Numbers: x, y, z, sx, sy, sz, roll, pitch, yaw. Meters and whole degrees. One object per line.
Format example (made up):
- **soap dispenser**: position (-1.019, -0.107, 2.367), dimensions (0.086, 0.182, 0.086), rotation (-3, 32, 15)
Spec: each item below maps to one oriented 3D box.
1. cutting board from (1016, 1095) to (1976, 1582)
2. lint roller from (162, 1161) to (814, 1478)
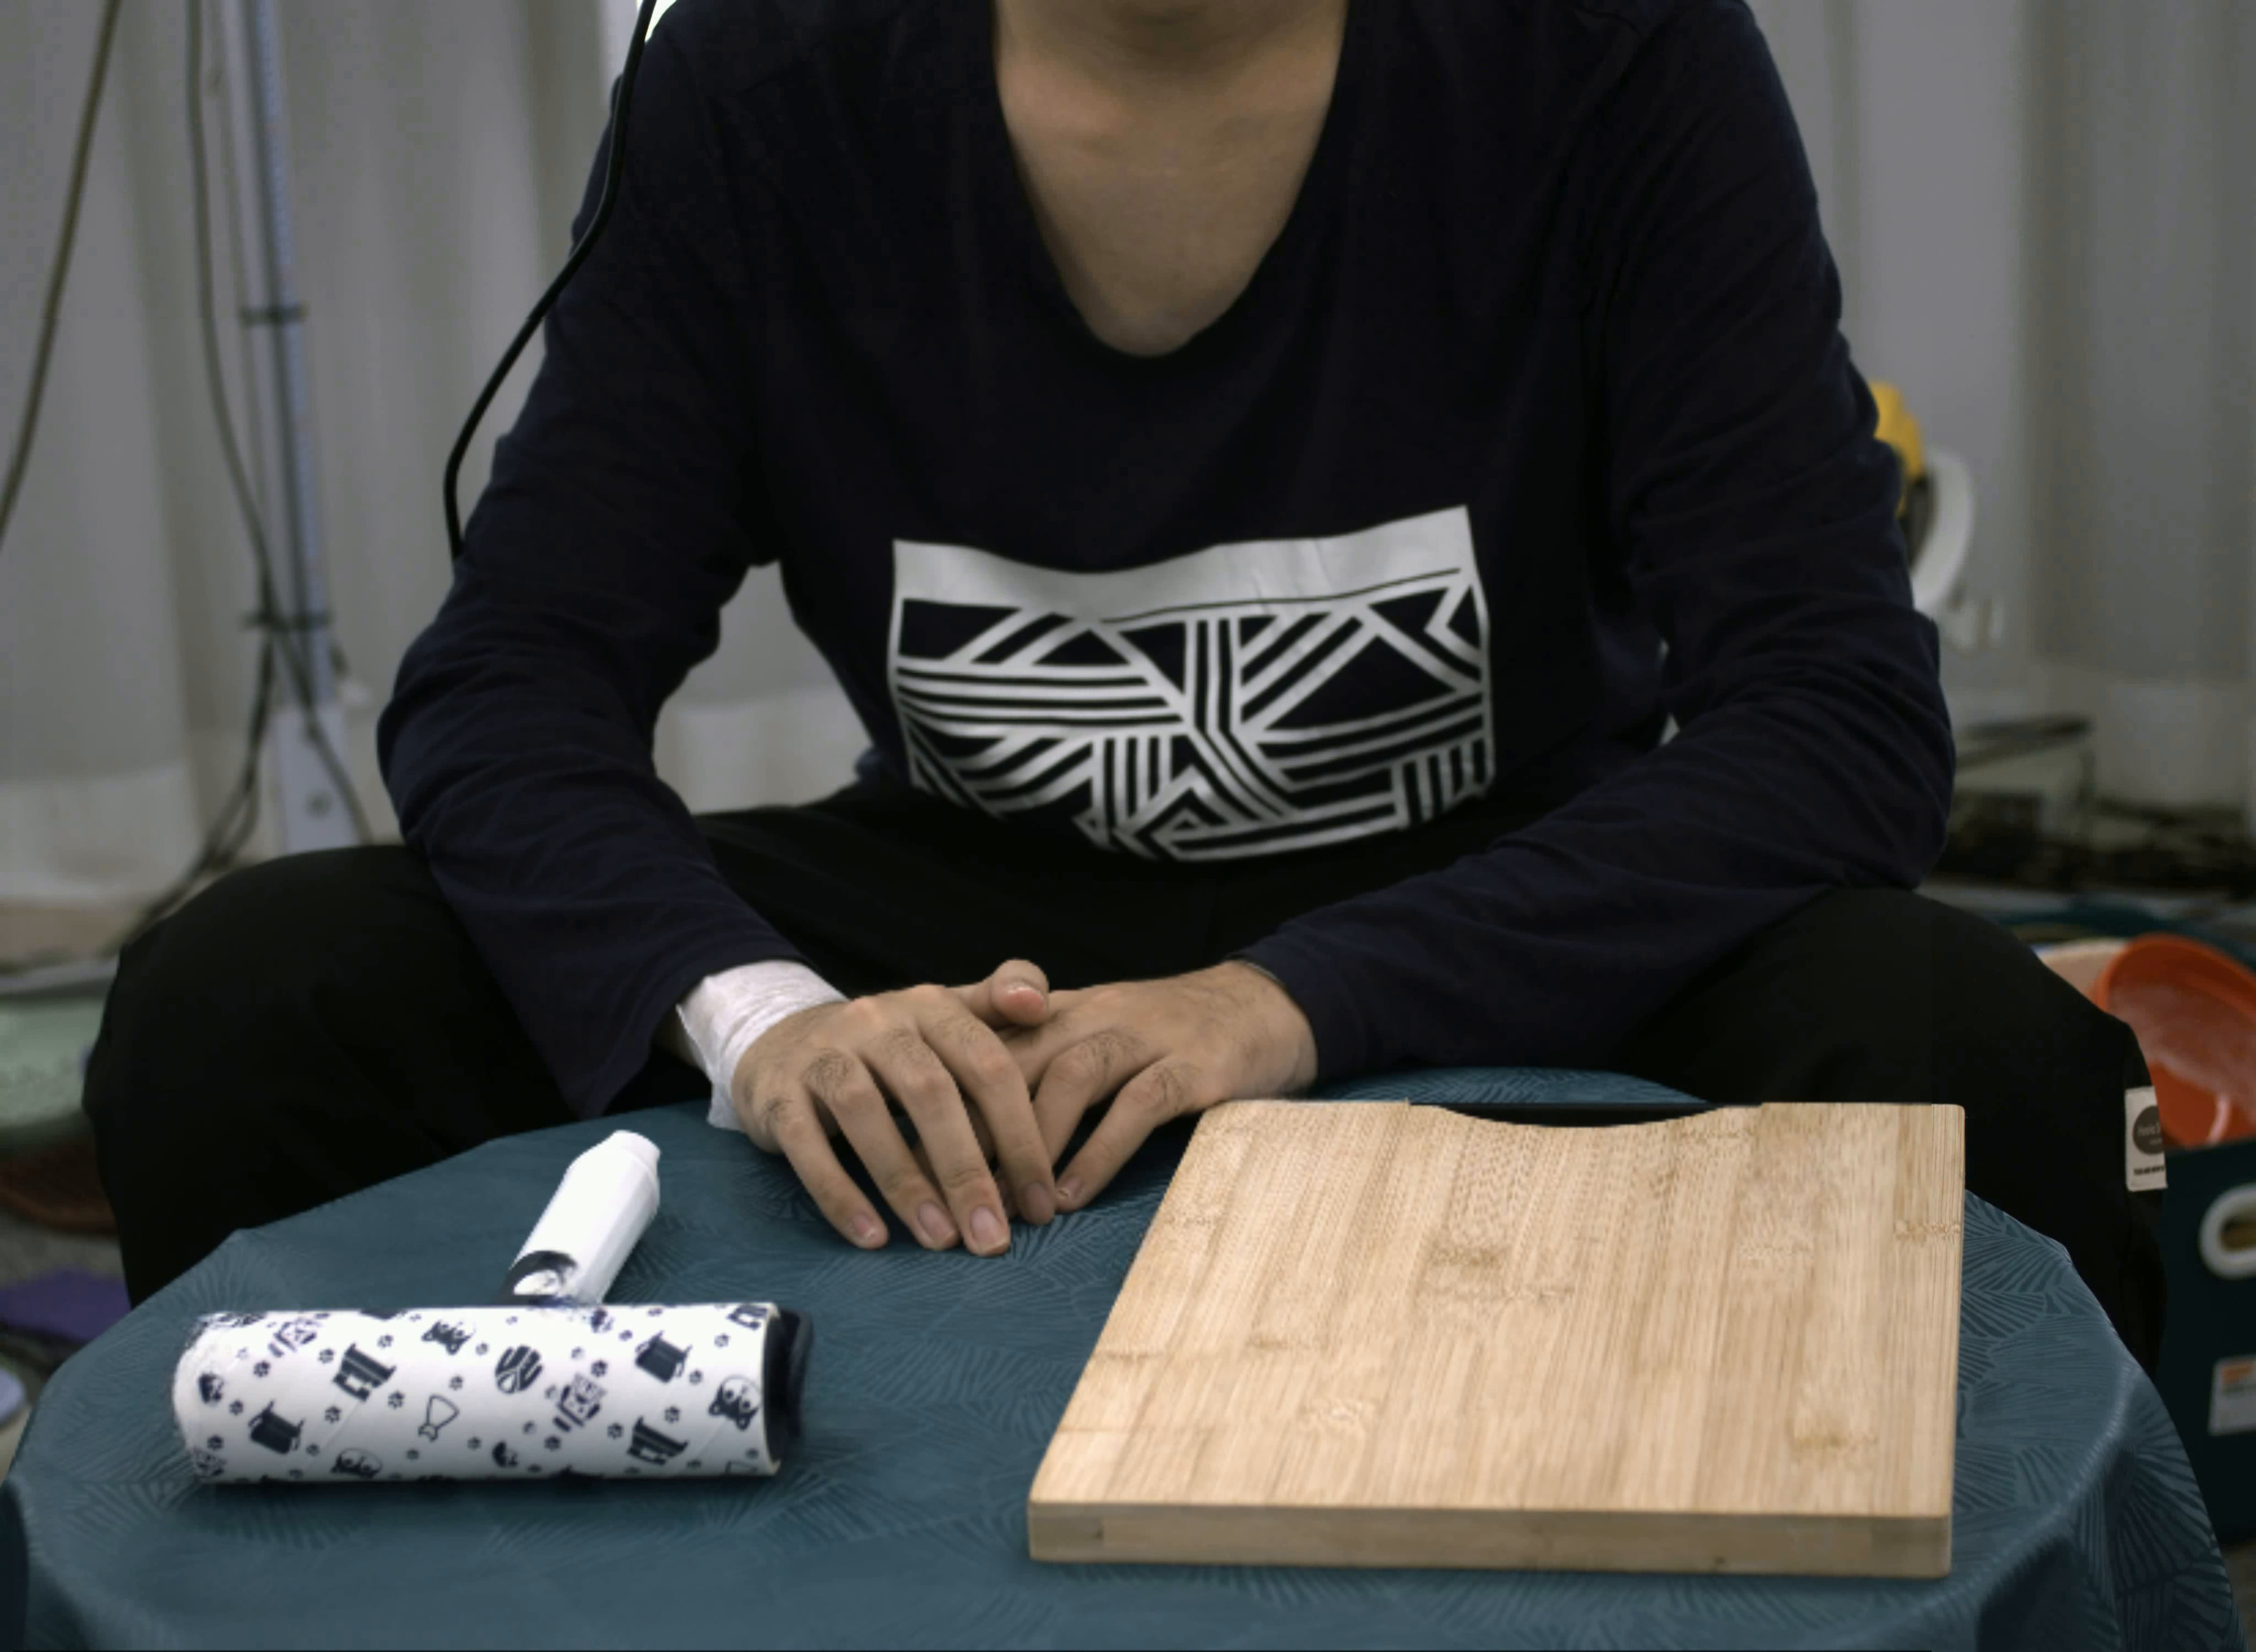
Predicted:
- **cutting board**: position (0.118, 0.140, 1.571), dimensions (0.250, 0.023, 0.350), rotation (0, 15, 9)
- **lint roller**: position (-0.170, 0.133, 1.602), dimensions (0.176, 0.050, 0.248), rotation (-3, 12, 4)
